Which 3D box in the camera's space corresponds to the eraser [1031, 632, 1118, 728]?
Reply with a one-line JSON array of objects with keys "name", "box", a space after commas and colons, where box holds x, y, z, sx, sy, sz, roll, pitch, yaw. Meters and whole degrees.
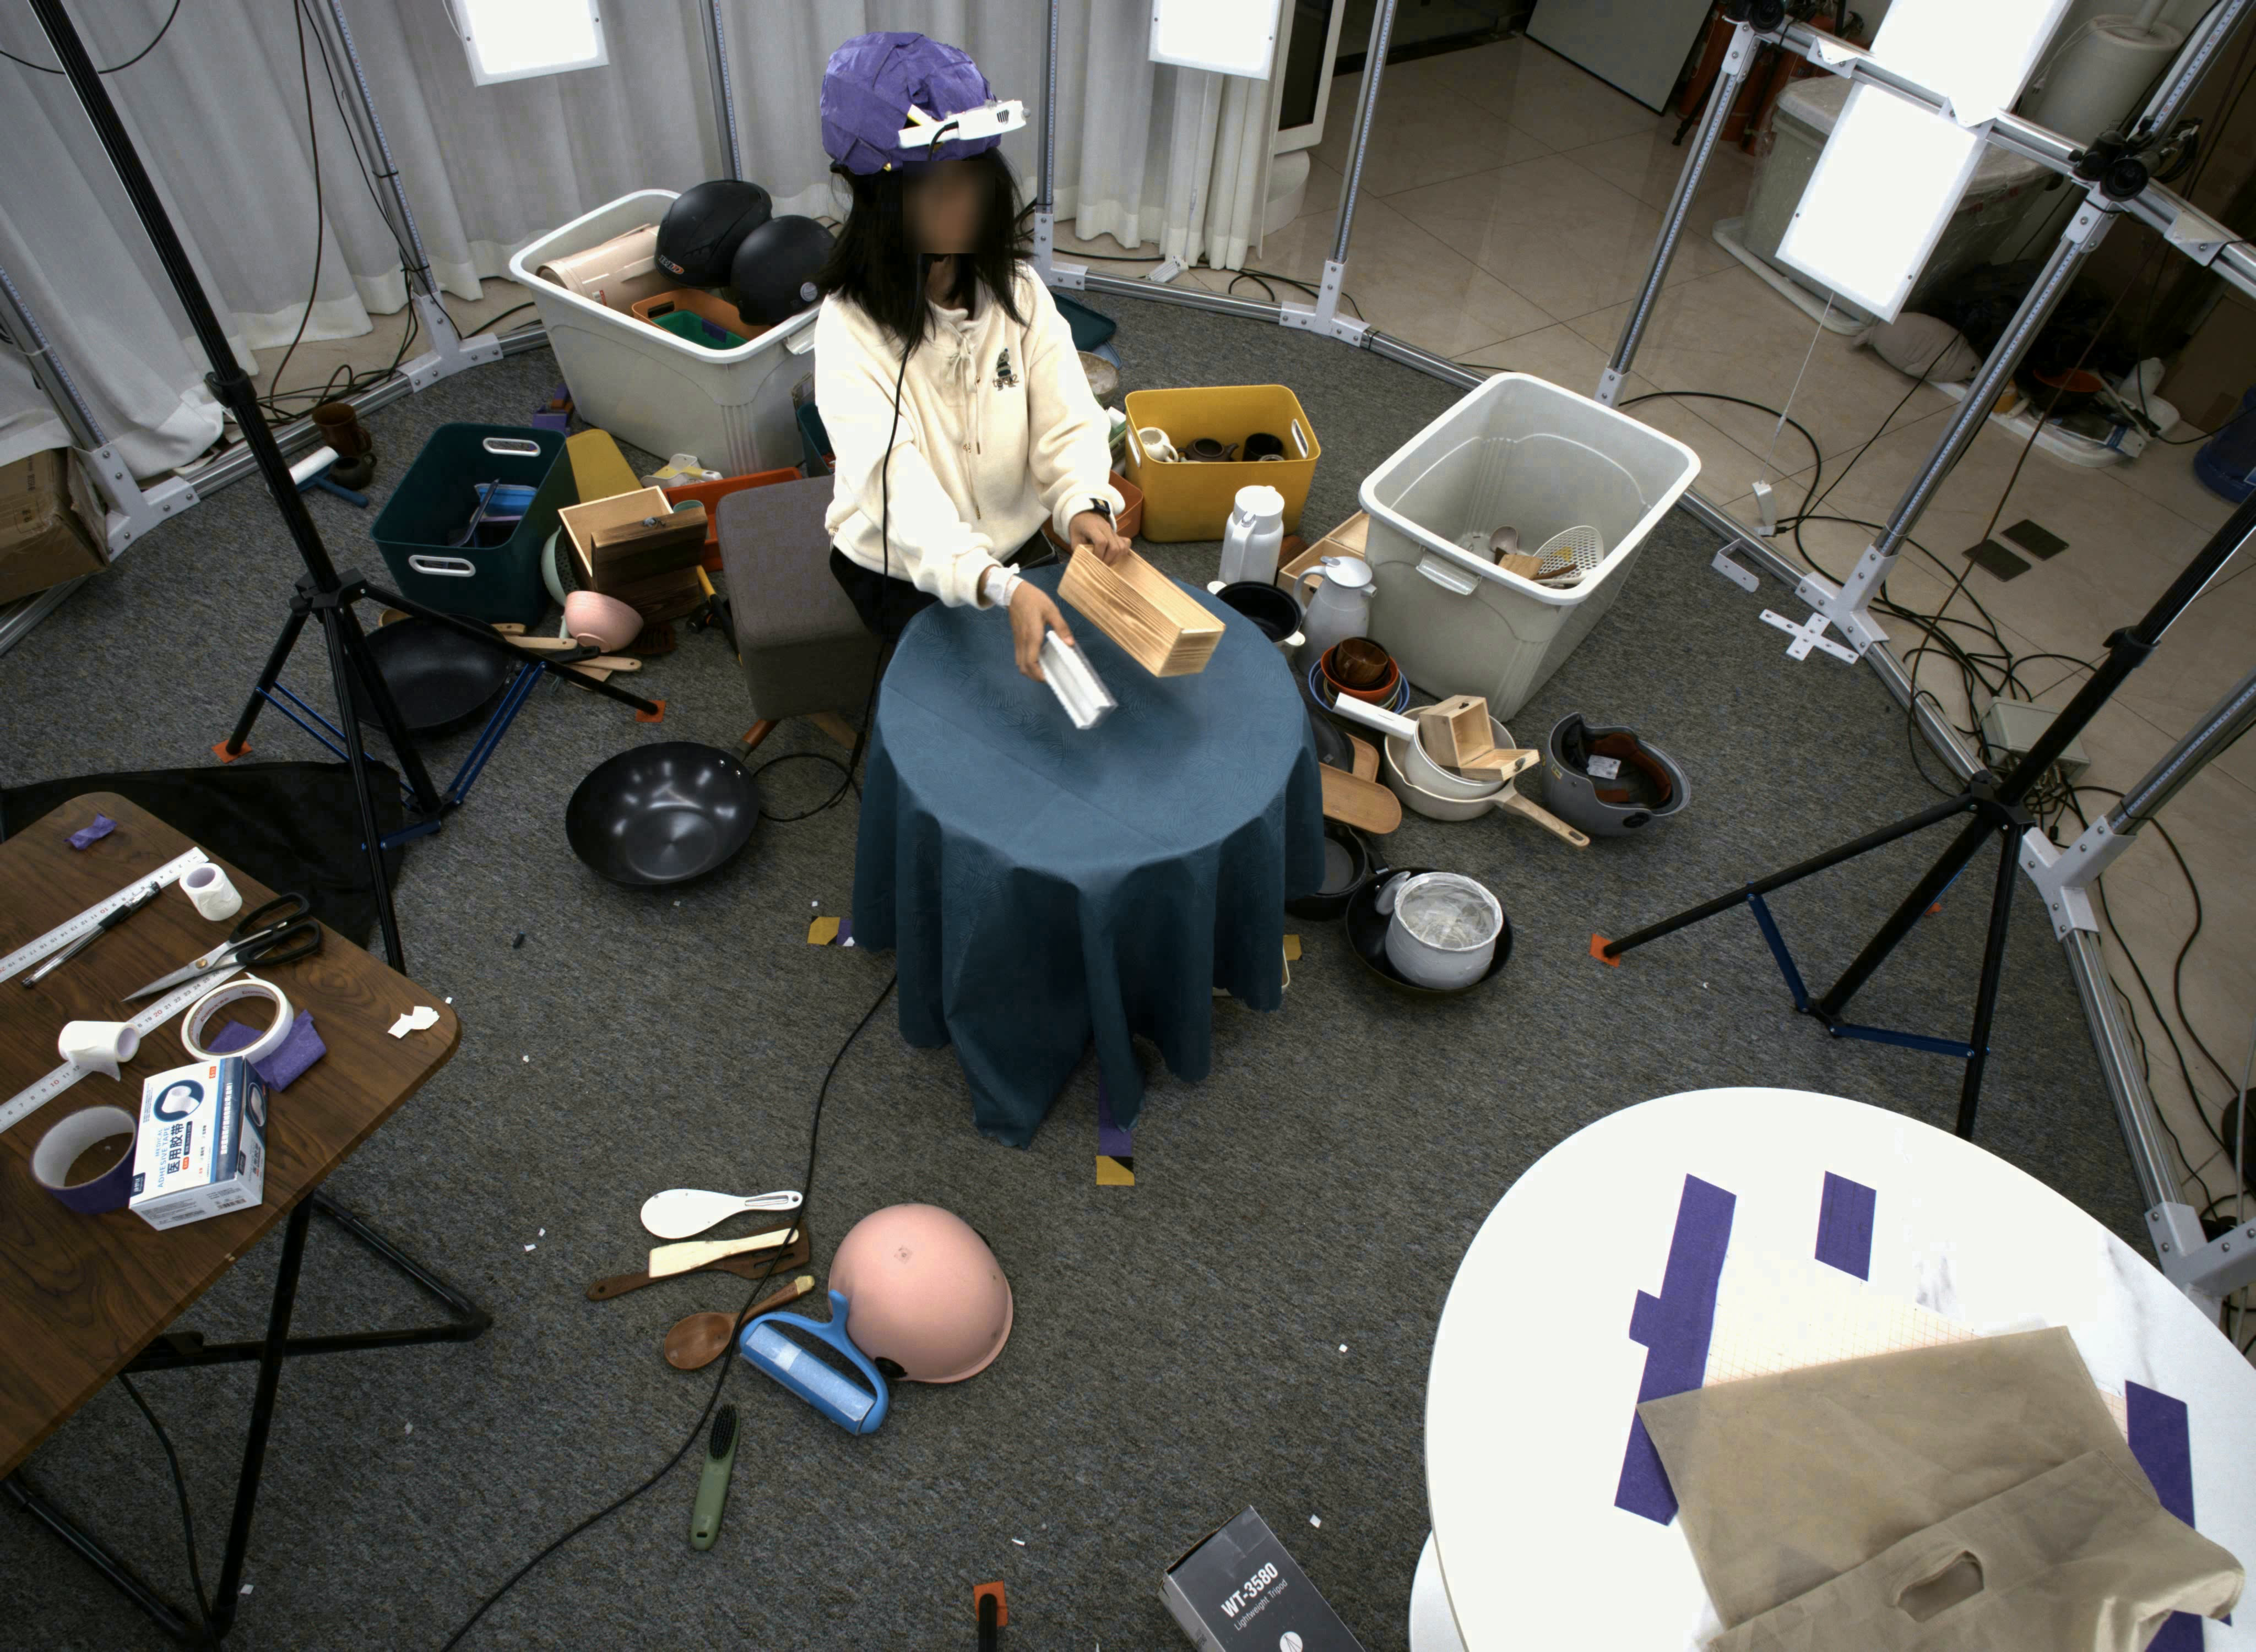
[{"name": "eraser", "box": [-0.071, -0.198, 1.733, 0.046, 0.049, 0.136, -8, 55, -51]}]

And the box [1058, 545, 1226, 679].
[{"name": "box", "box": [0.018, -0.301, 1.793, 0.215, 0.079, 0.107, 43, 32, 25]}]
